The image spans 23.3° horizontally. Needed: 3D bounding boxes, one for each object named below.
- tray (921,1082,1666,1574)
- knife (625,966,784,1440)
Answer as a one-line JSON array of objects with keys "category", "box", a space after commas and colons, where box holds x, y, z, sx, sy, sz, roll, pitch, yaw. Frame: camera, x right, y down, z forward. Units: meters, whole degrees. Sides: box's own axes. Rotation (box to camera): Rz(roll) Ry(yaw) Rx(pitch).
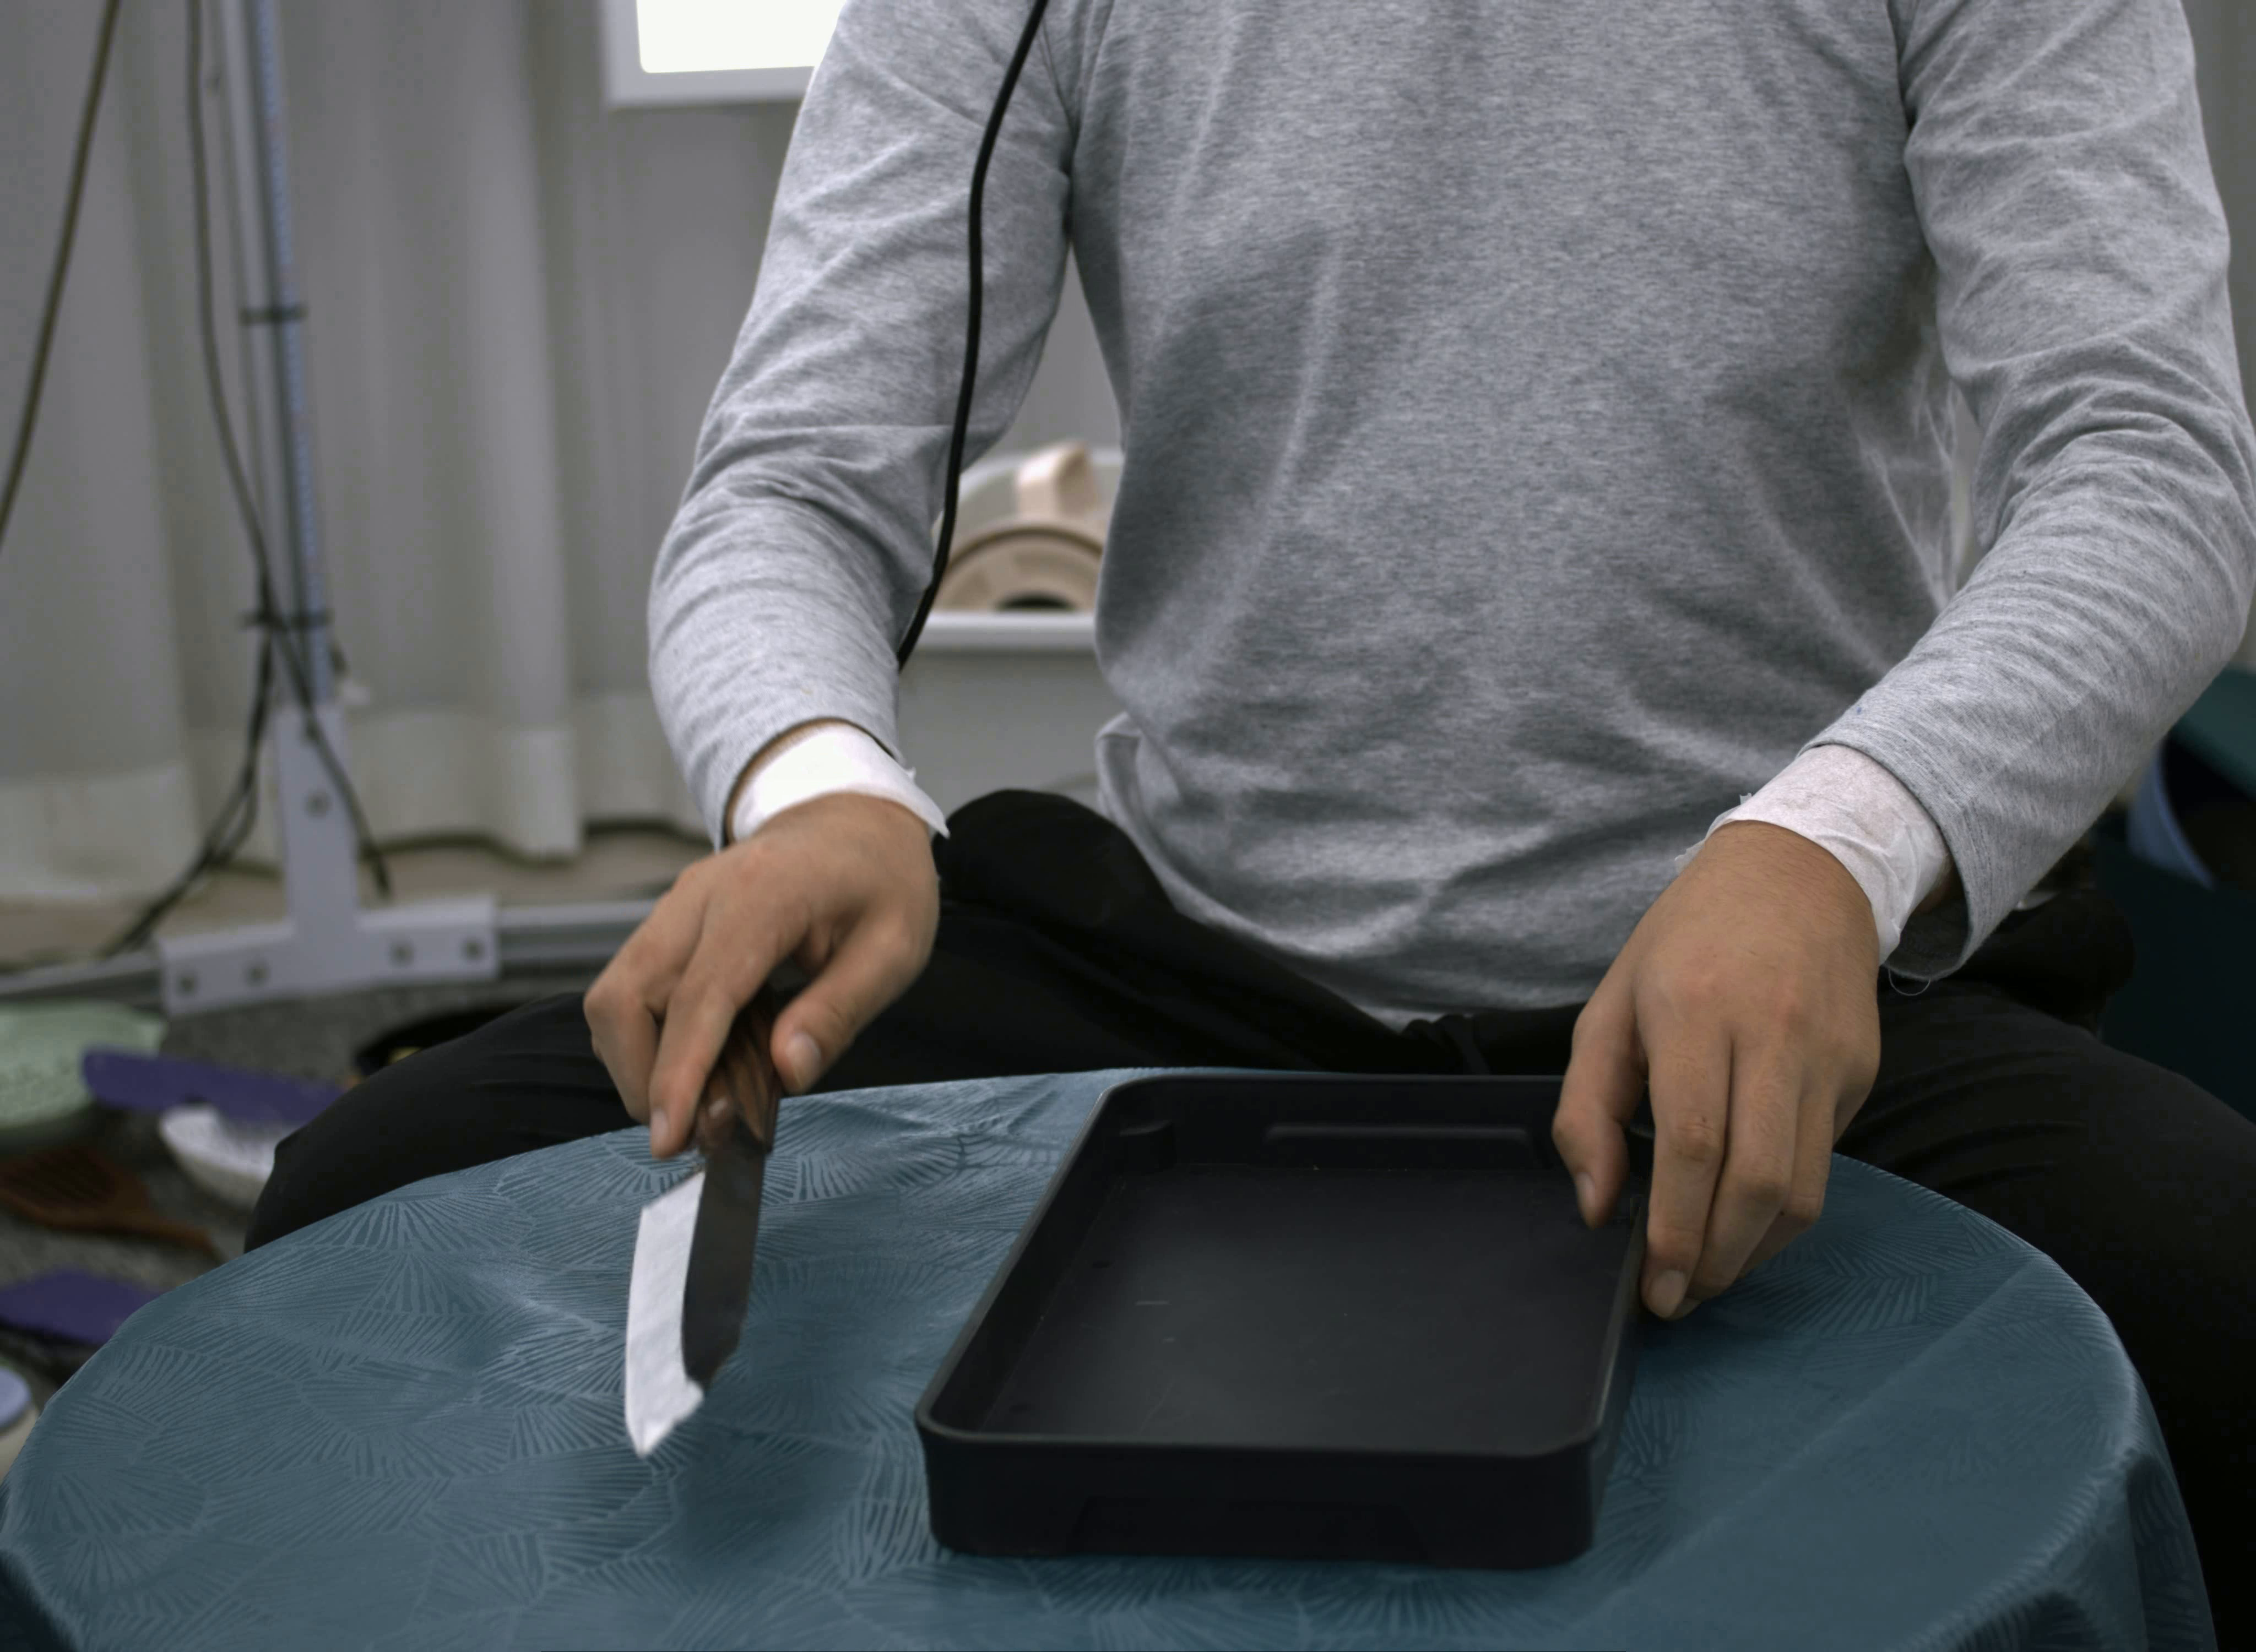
[{"category": "tray", "box": [0.056, 0.137, 1.557, 0.184, 0.037, 0.319, 0, 14, 9]}, {"category": "knife", "box": [-0.121, 0.105, 1.565, 0.050, 0.020, 0.292, -34, 18, 13]}]
